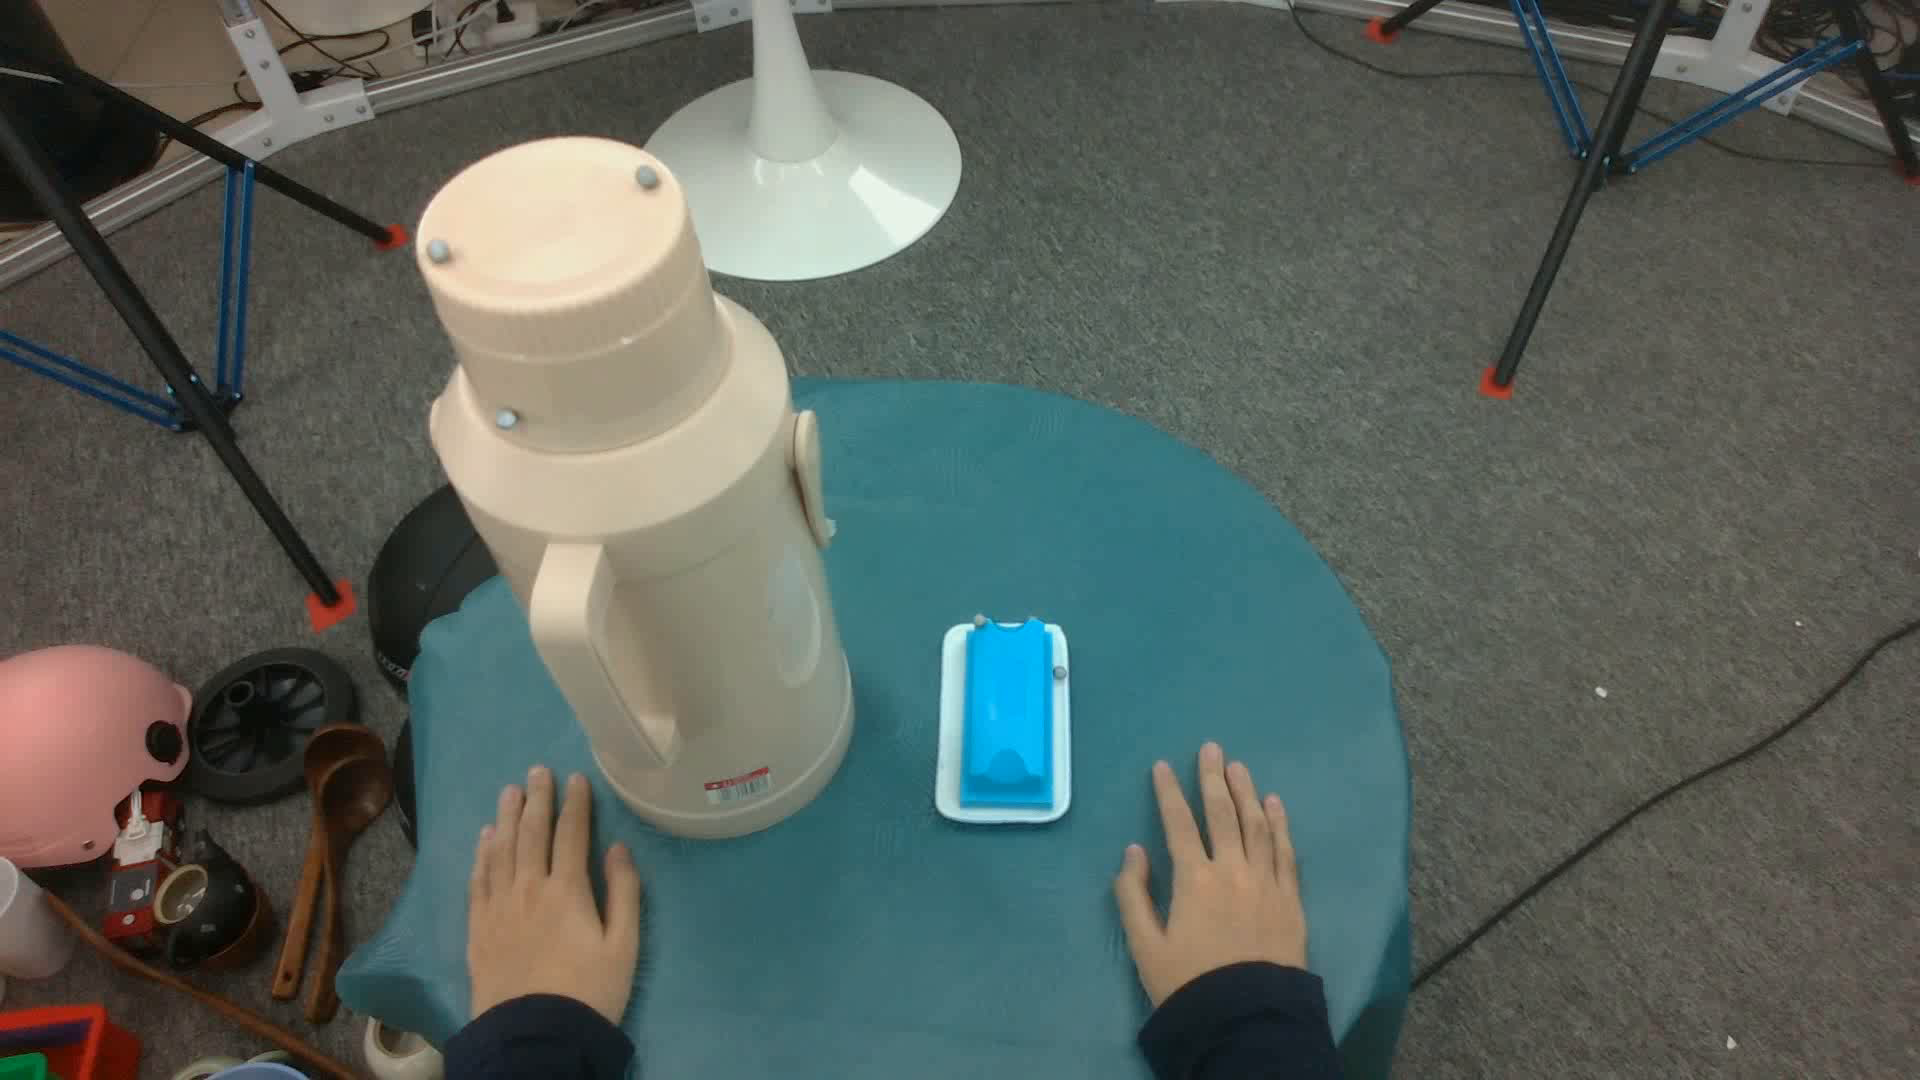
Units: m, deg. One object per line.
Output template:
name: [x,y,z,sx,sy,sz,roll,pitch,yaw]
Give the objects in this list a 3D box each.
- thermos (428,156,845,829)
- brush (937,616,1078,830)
thermos: [-0.159,0.007,0.707,0.175,0.404,0.208,2,54,2]
brush: [0.029,0.103,0.833,0.084,0.055,0.144,-1,49,6]
